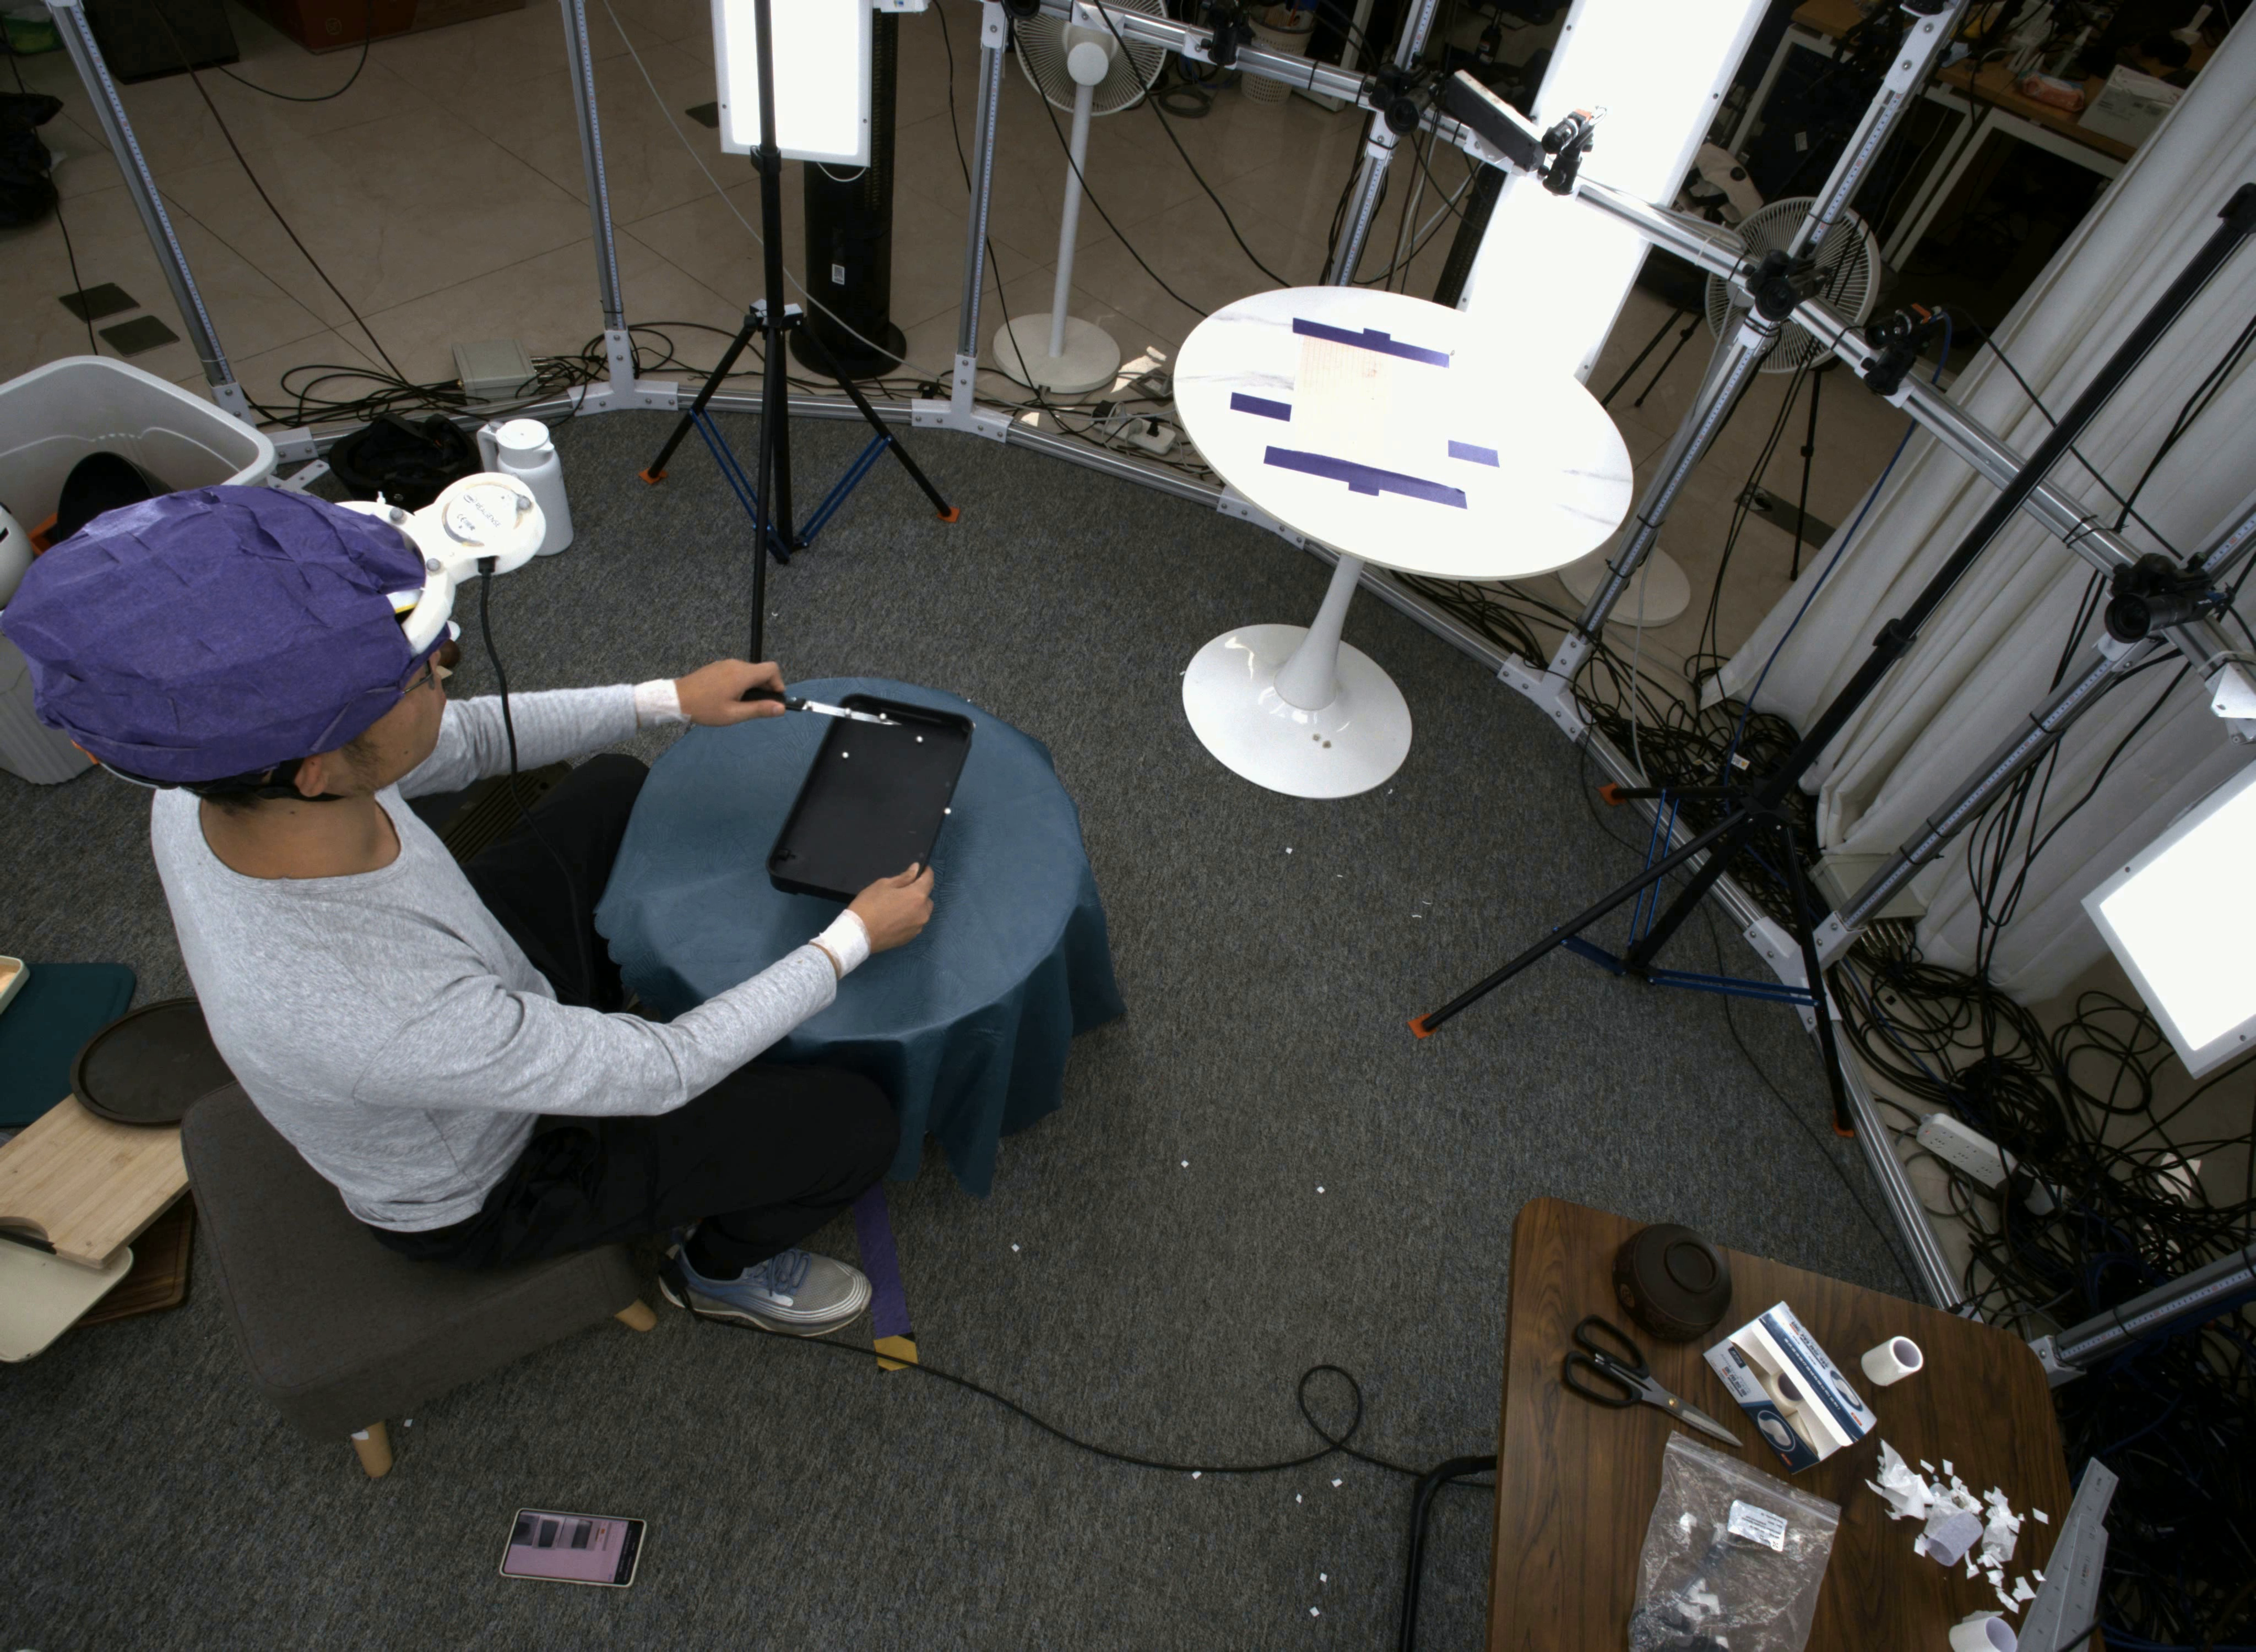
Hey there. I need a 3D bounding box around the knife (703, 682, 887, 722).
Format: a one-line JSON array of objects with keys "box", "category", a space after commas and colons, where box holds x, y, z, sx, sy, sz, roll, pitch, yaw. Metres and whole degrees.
[{"box": [-0.419, -0.151, 1.619, 0.236, 0.017, 0.024, 10, 33, -3], "category": "knife"}]

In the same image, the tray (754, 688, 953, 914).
[{"box": [-0.340, -0.038, 1.645, 0.182, 0.038, 0.313, 10, 53, -1], "category": "tray"}]
